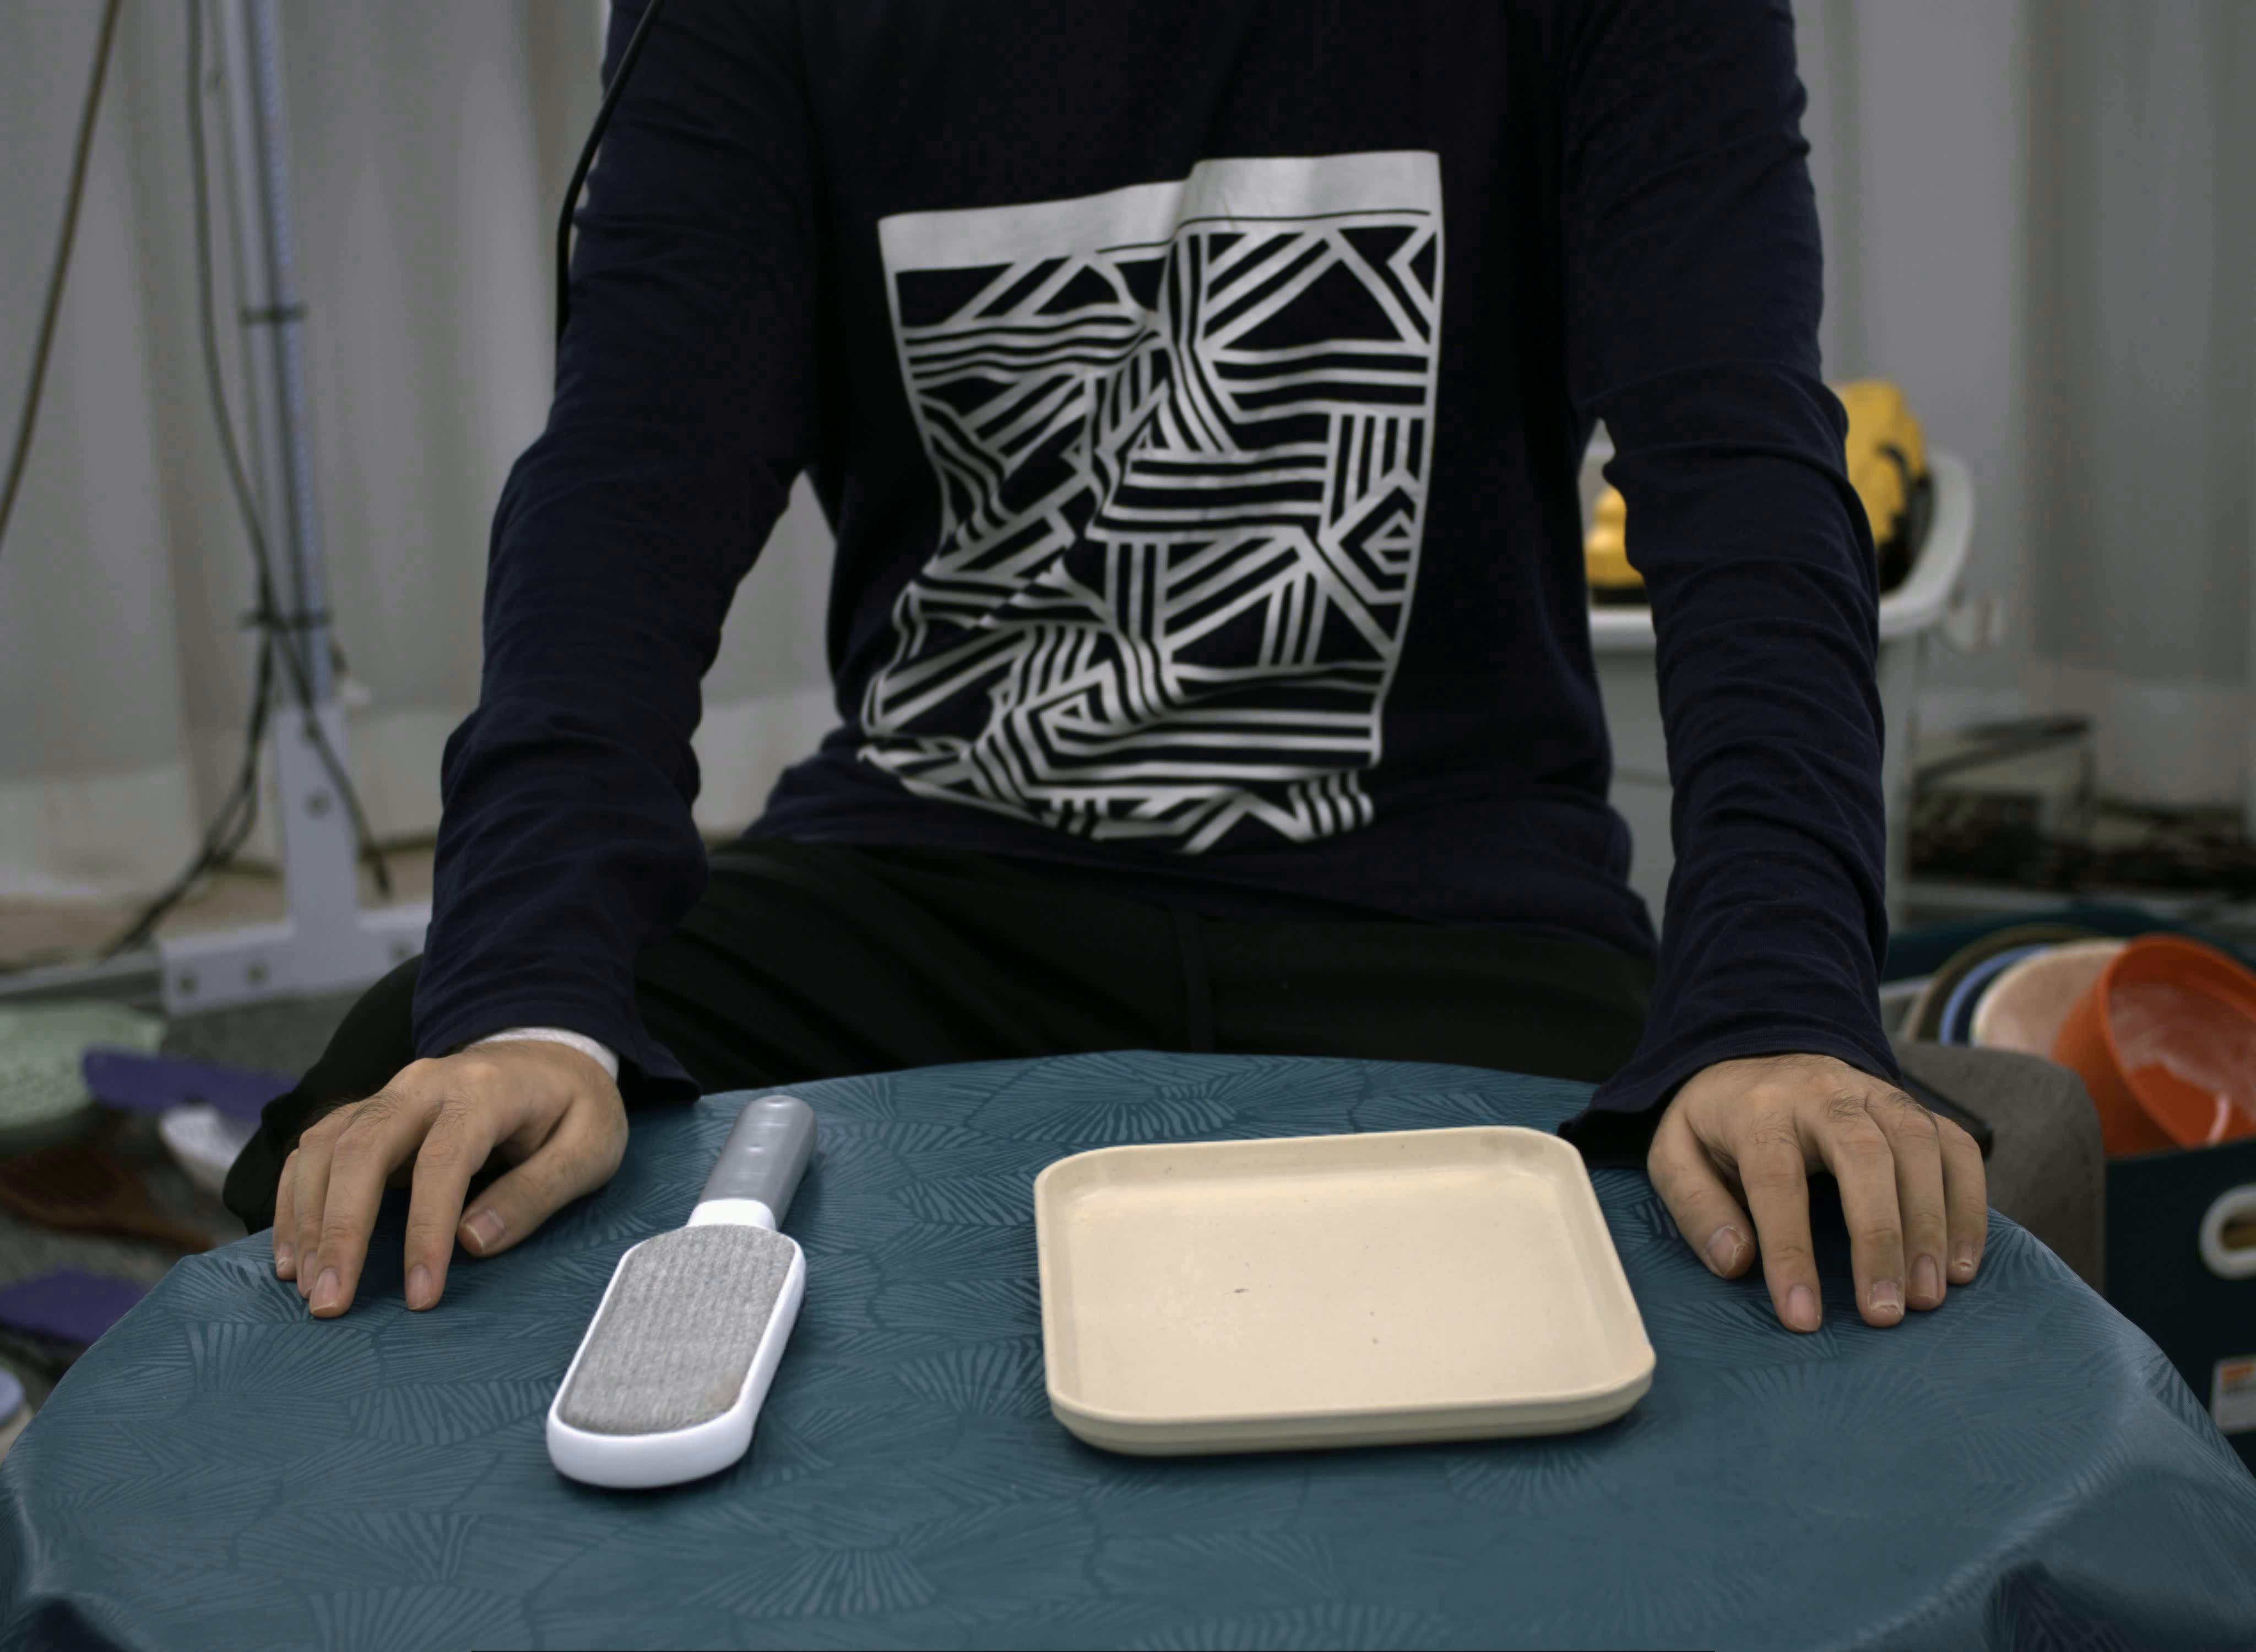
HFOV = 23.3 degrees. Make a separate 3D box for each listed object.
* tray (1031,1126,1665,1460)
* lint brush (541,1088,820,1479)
[{"bbox_3d":[0.060,0.135,1.597,0.170,0.017,0.241,-4,15,-2],"label":"tray"},{"bbox_3d":[-0.122,0.131,1.625,0.060,0.021,0.311,-7,14,6],"label":"lint brush"}]
